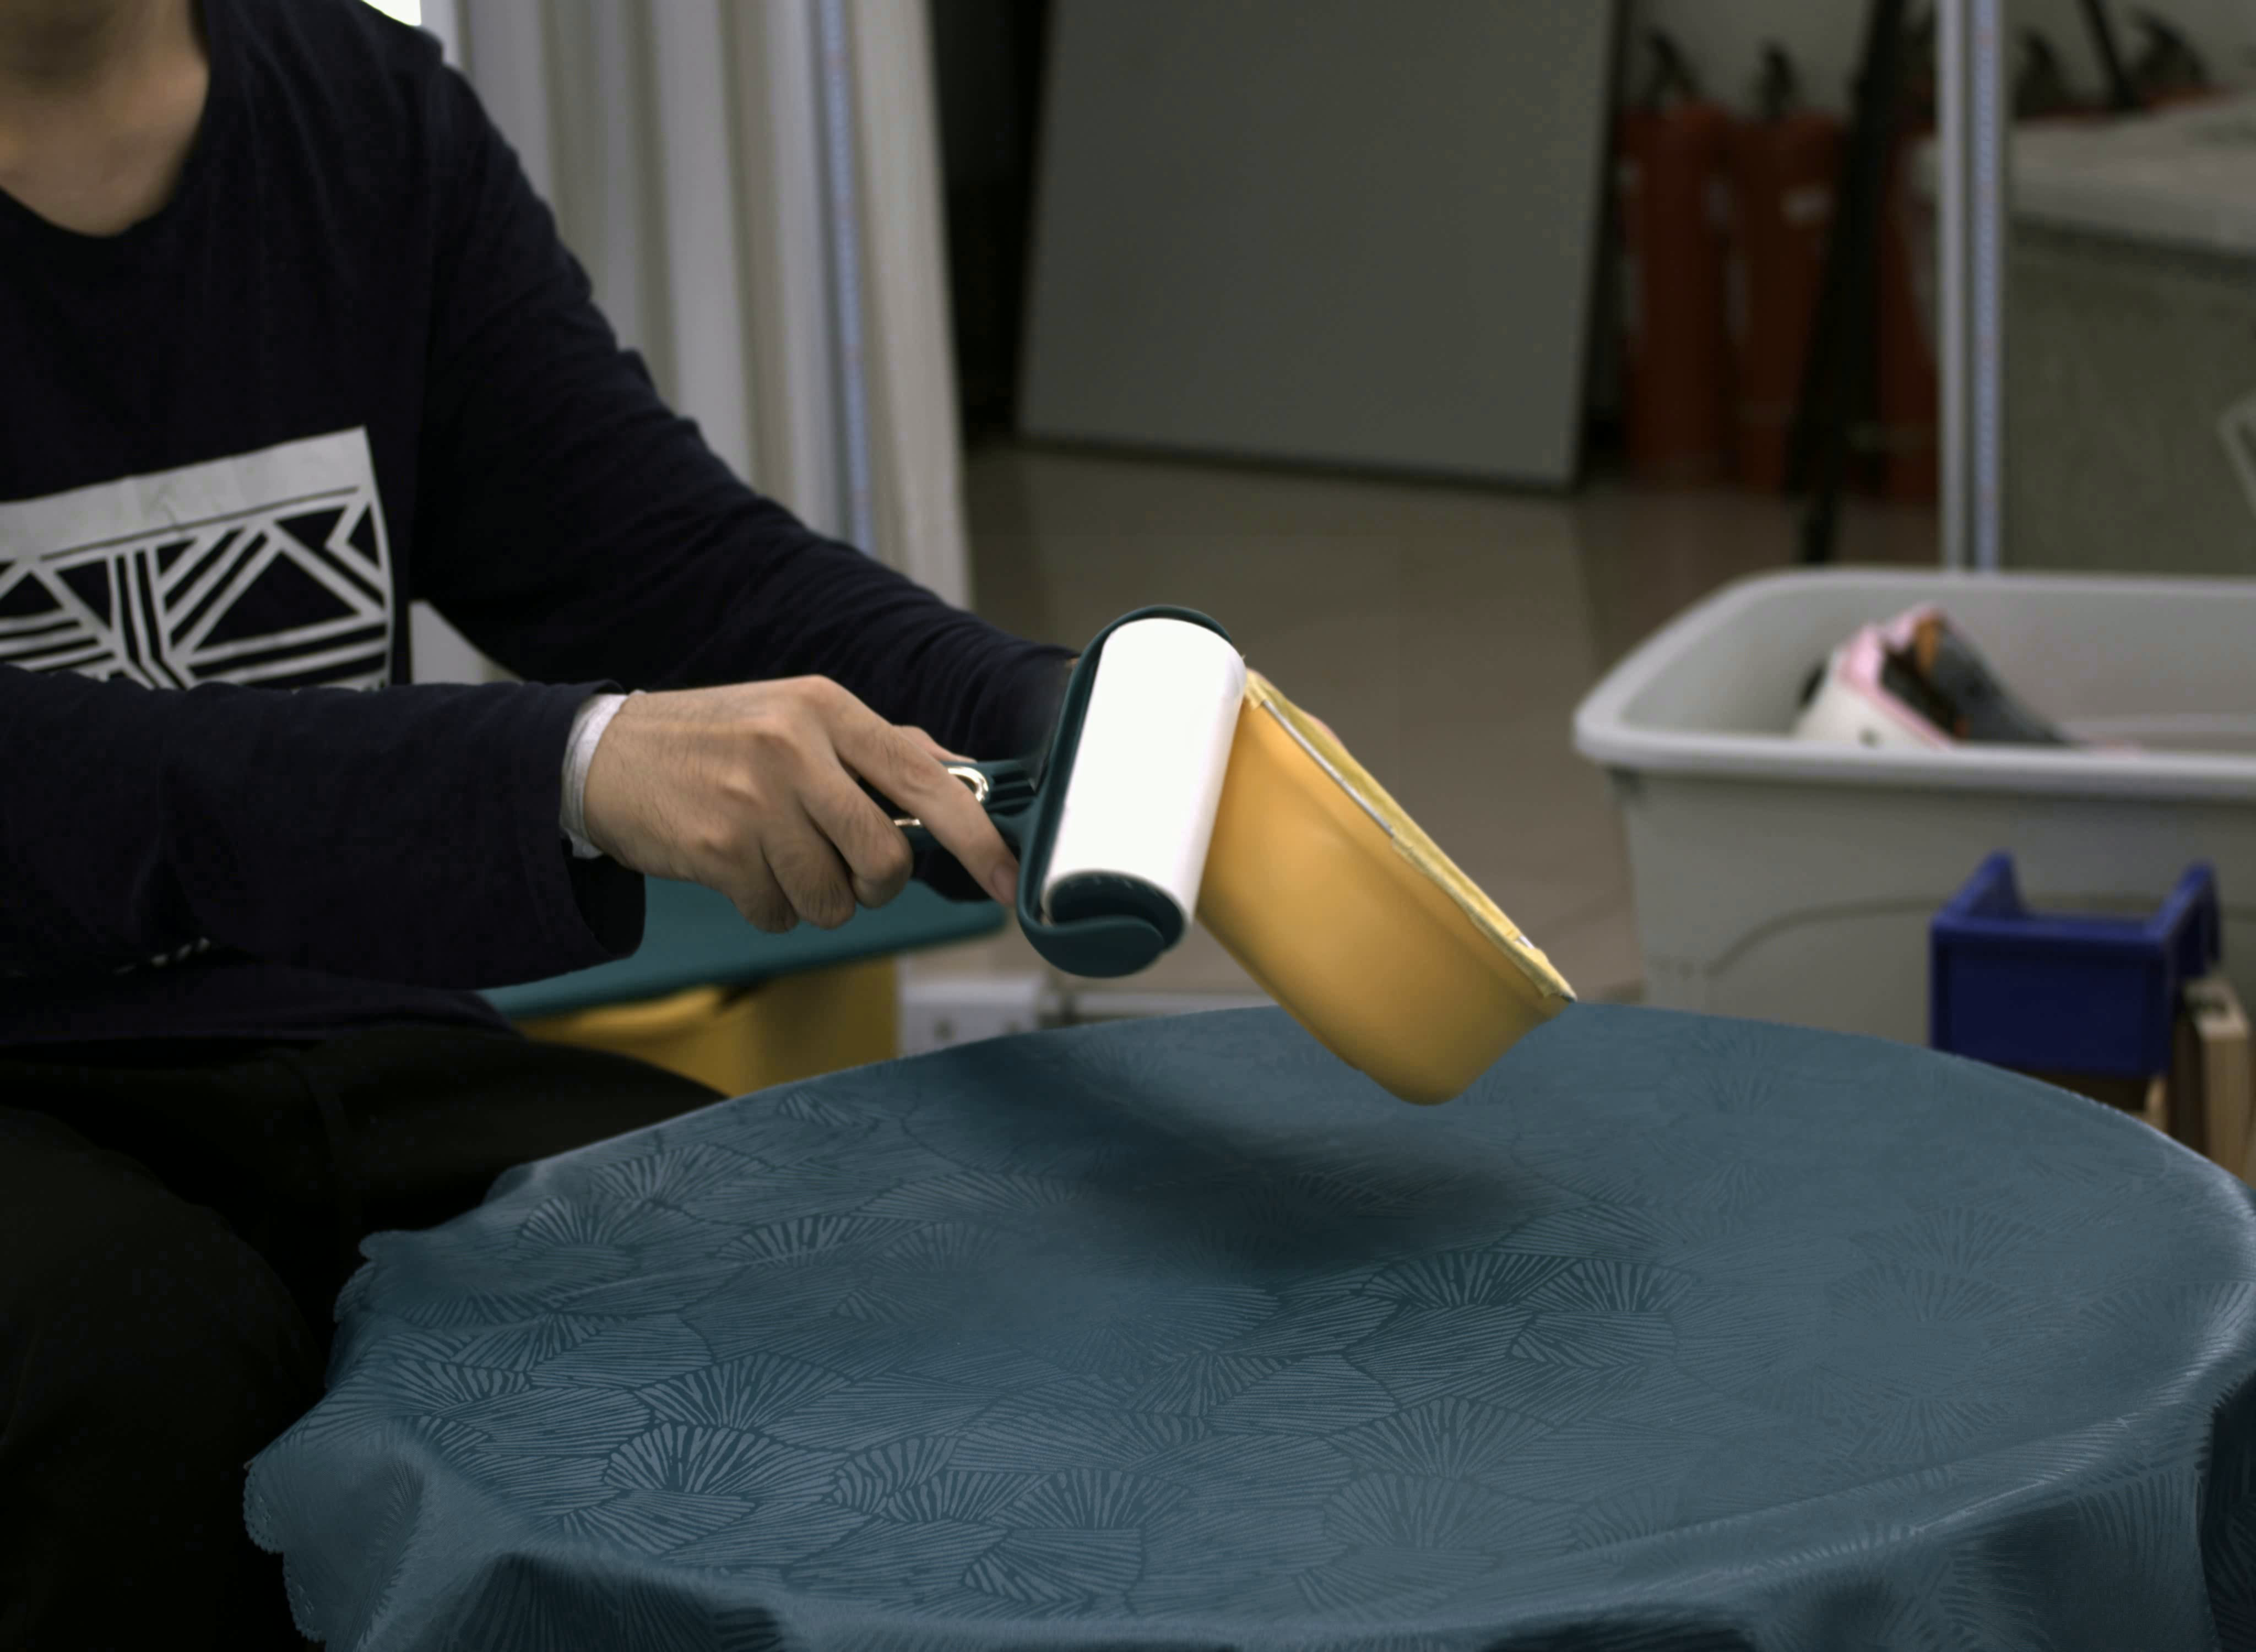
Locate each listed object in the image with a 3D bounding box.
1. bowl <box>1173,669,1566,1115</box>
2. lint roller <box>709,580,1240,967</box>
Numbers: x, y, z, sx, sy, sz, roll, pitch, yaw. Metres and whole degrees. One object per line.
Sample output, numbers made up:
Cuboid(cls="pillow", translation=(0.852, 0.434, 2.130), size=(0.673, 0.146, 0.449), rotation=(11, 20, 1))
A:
Cuboid(cls="bowl", translation=(0.061, 0.021, 1.746), size=(0.151, 0.074, 0.181), rotation=(40, 6, -39))
Cuboid(cls="lint roller", translation=(-0.058, -0.012, 1.693), size=(0.180, 0.048, 0.135), rotation=(-4, 48, 23))
